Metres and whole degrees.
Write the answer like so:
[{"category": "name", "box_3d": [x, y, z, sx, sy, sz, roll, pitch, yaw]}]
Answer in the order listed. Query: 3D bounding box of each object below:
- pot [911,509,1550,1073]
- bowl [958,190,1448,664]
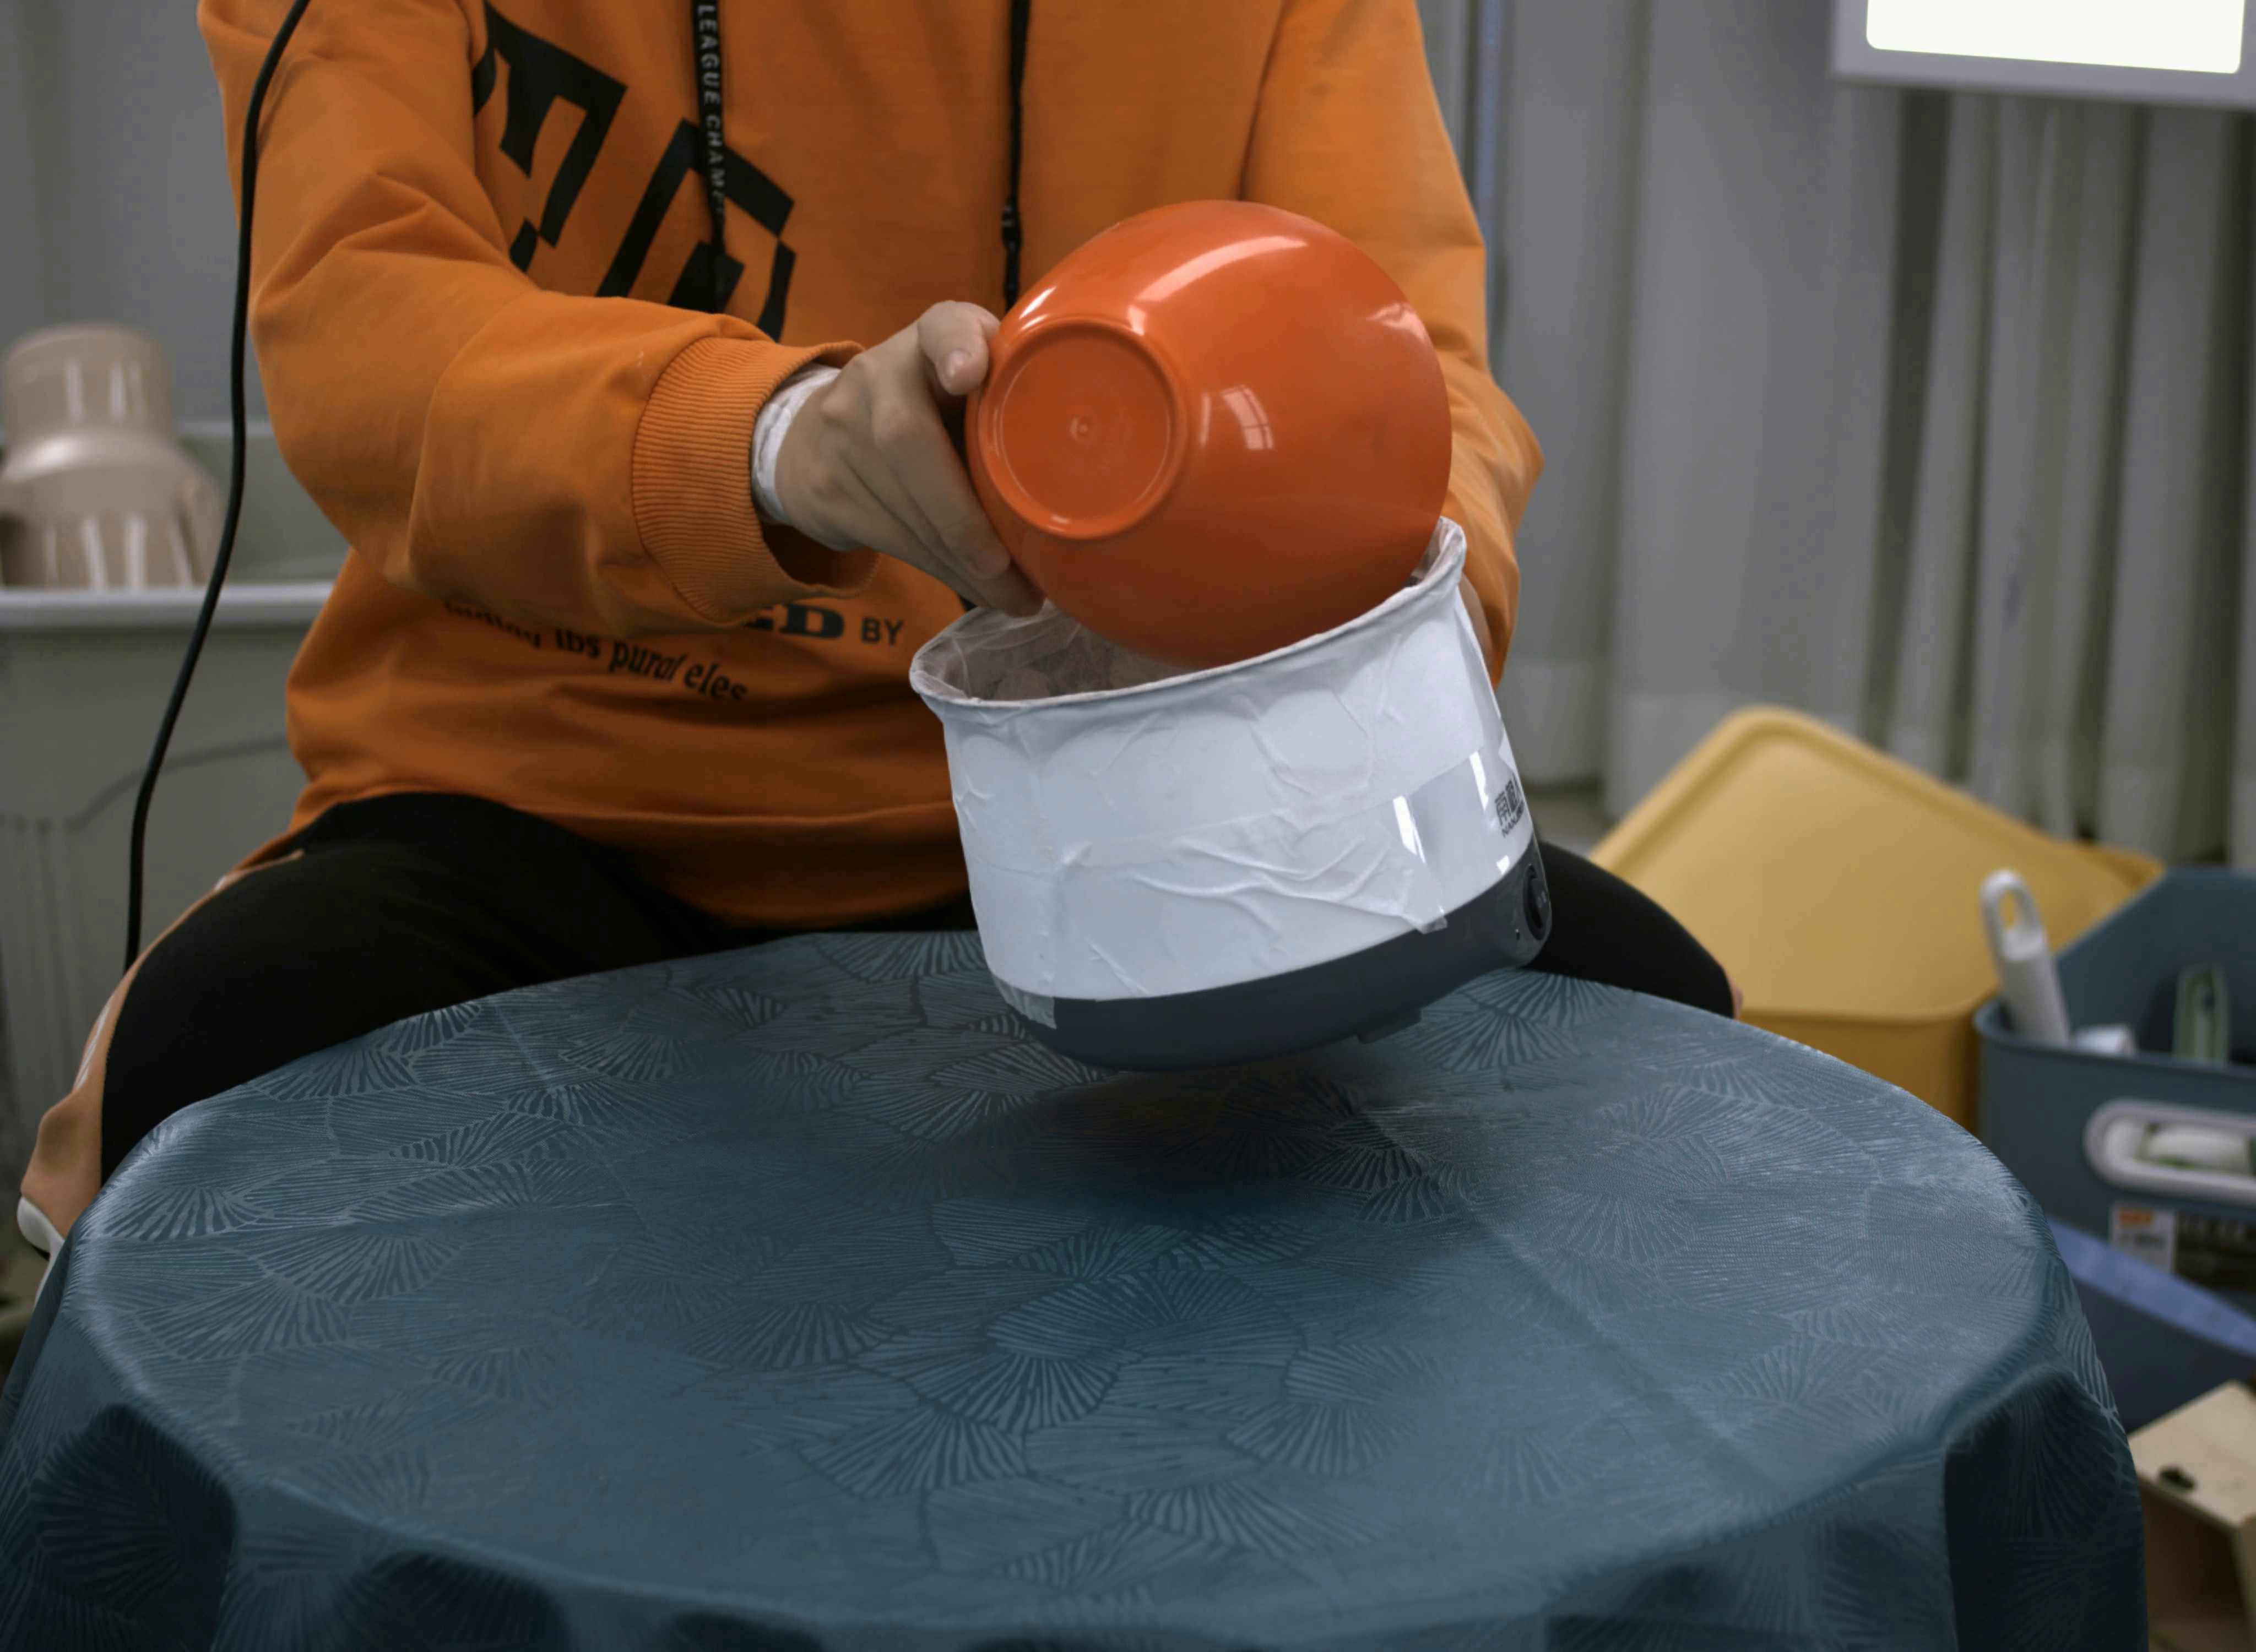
[{"category": "pot", "box_3d": [0.040, -0.020, 1.664, 0.177, 0.138, 0.233, -8, 18, 18]}, {"category": "bowl", "box_3d": [0.013, -0.121, 1.602, 0.146, 0.149, 0.105, 6, 7, 18]}]
